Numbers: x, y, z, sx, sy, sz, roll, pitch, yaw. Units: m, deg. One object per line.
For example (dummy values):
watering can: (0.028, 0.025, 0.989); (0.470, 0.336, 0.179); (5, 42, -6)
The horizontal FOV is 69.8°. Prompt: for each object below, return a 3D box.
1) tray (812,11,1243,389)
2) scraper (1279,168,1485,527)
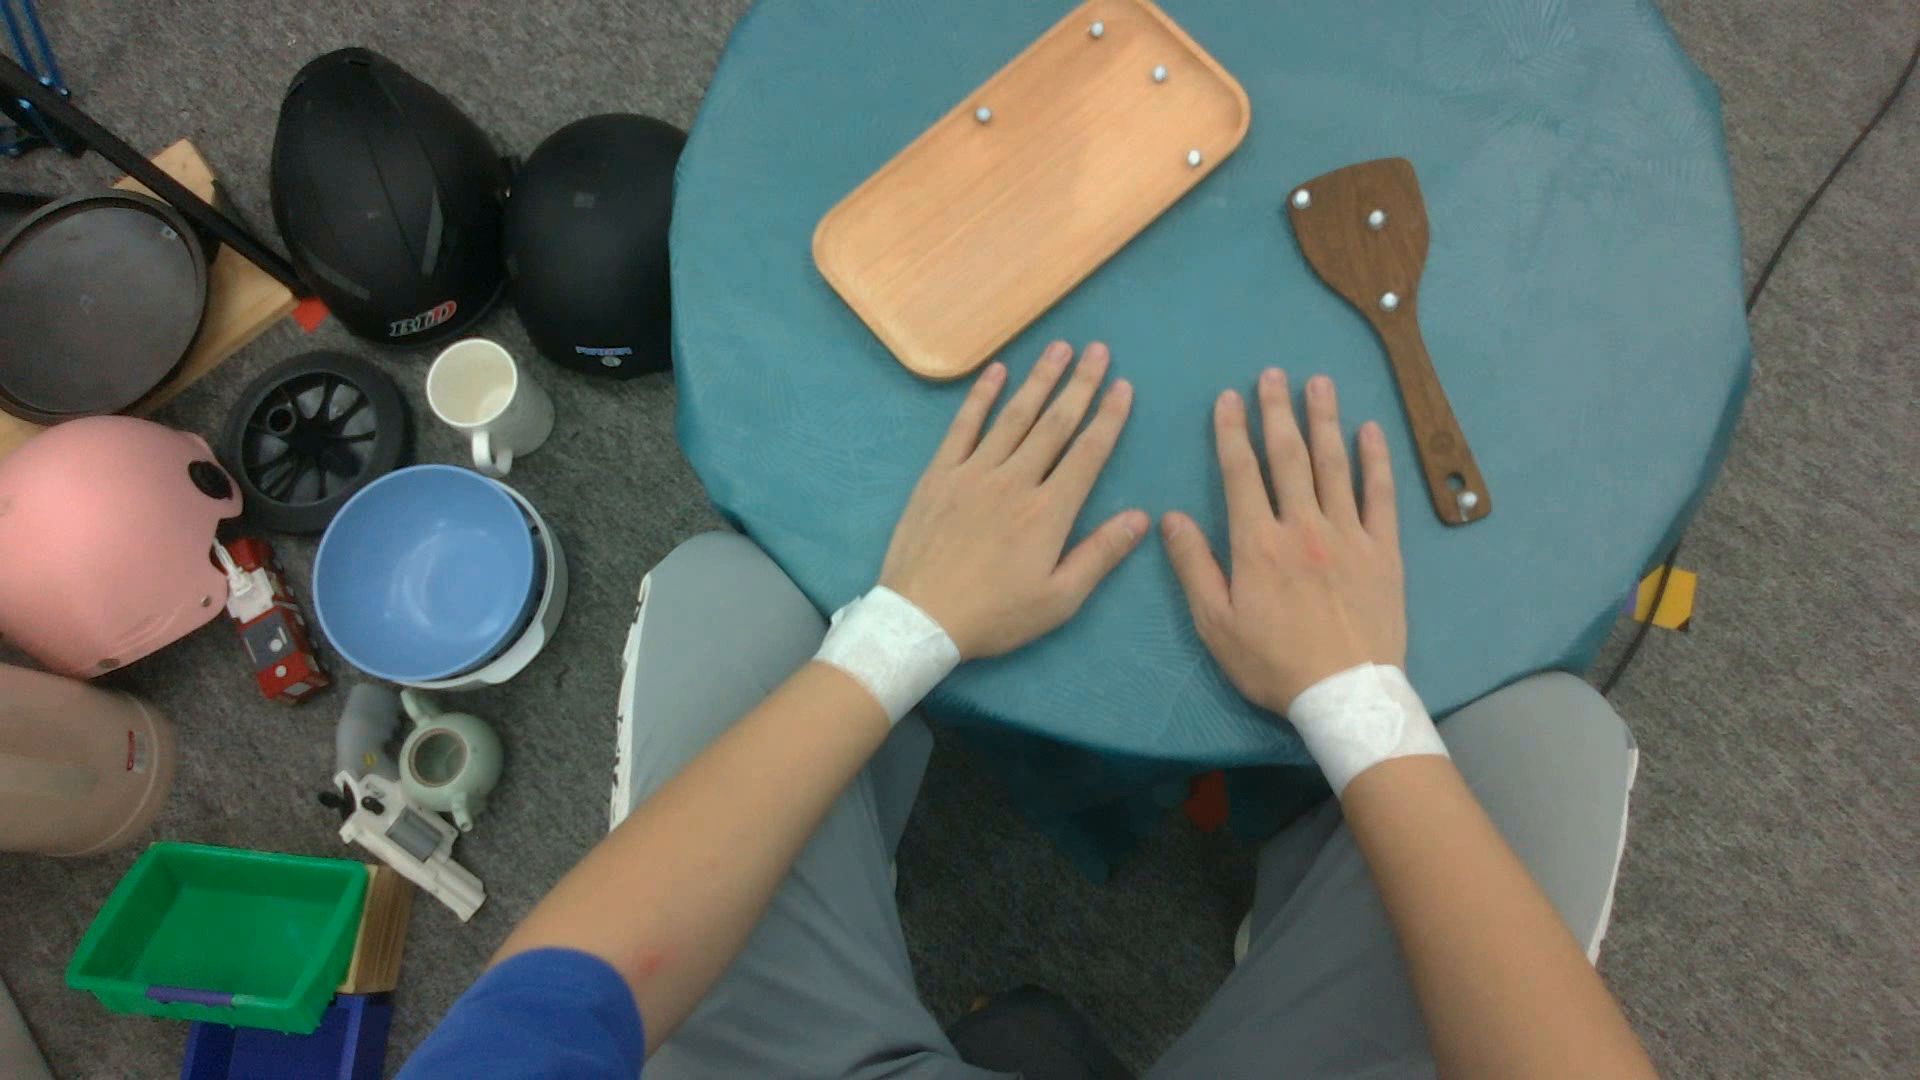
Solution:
tray: (0.039, -0.198, 0.797); (0.251, 0.023, 0.130); (-40, 73, -6)
scraper: (0.242, -0.107, 0.761); (0.076, 0.011, 0.211); (-15, 75, 1)
